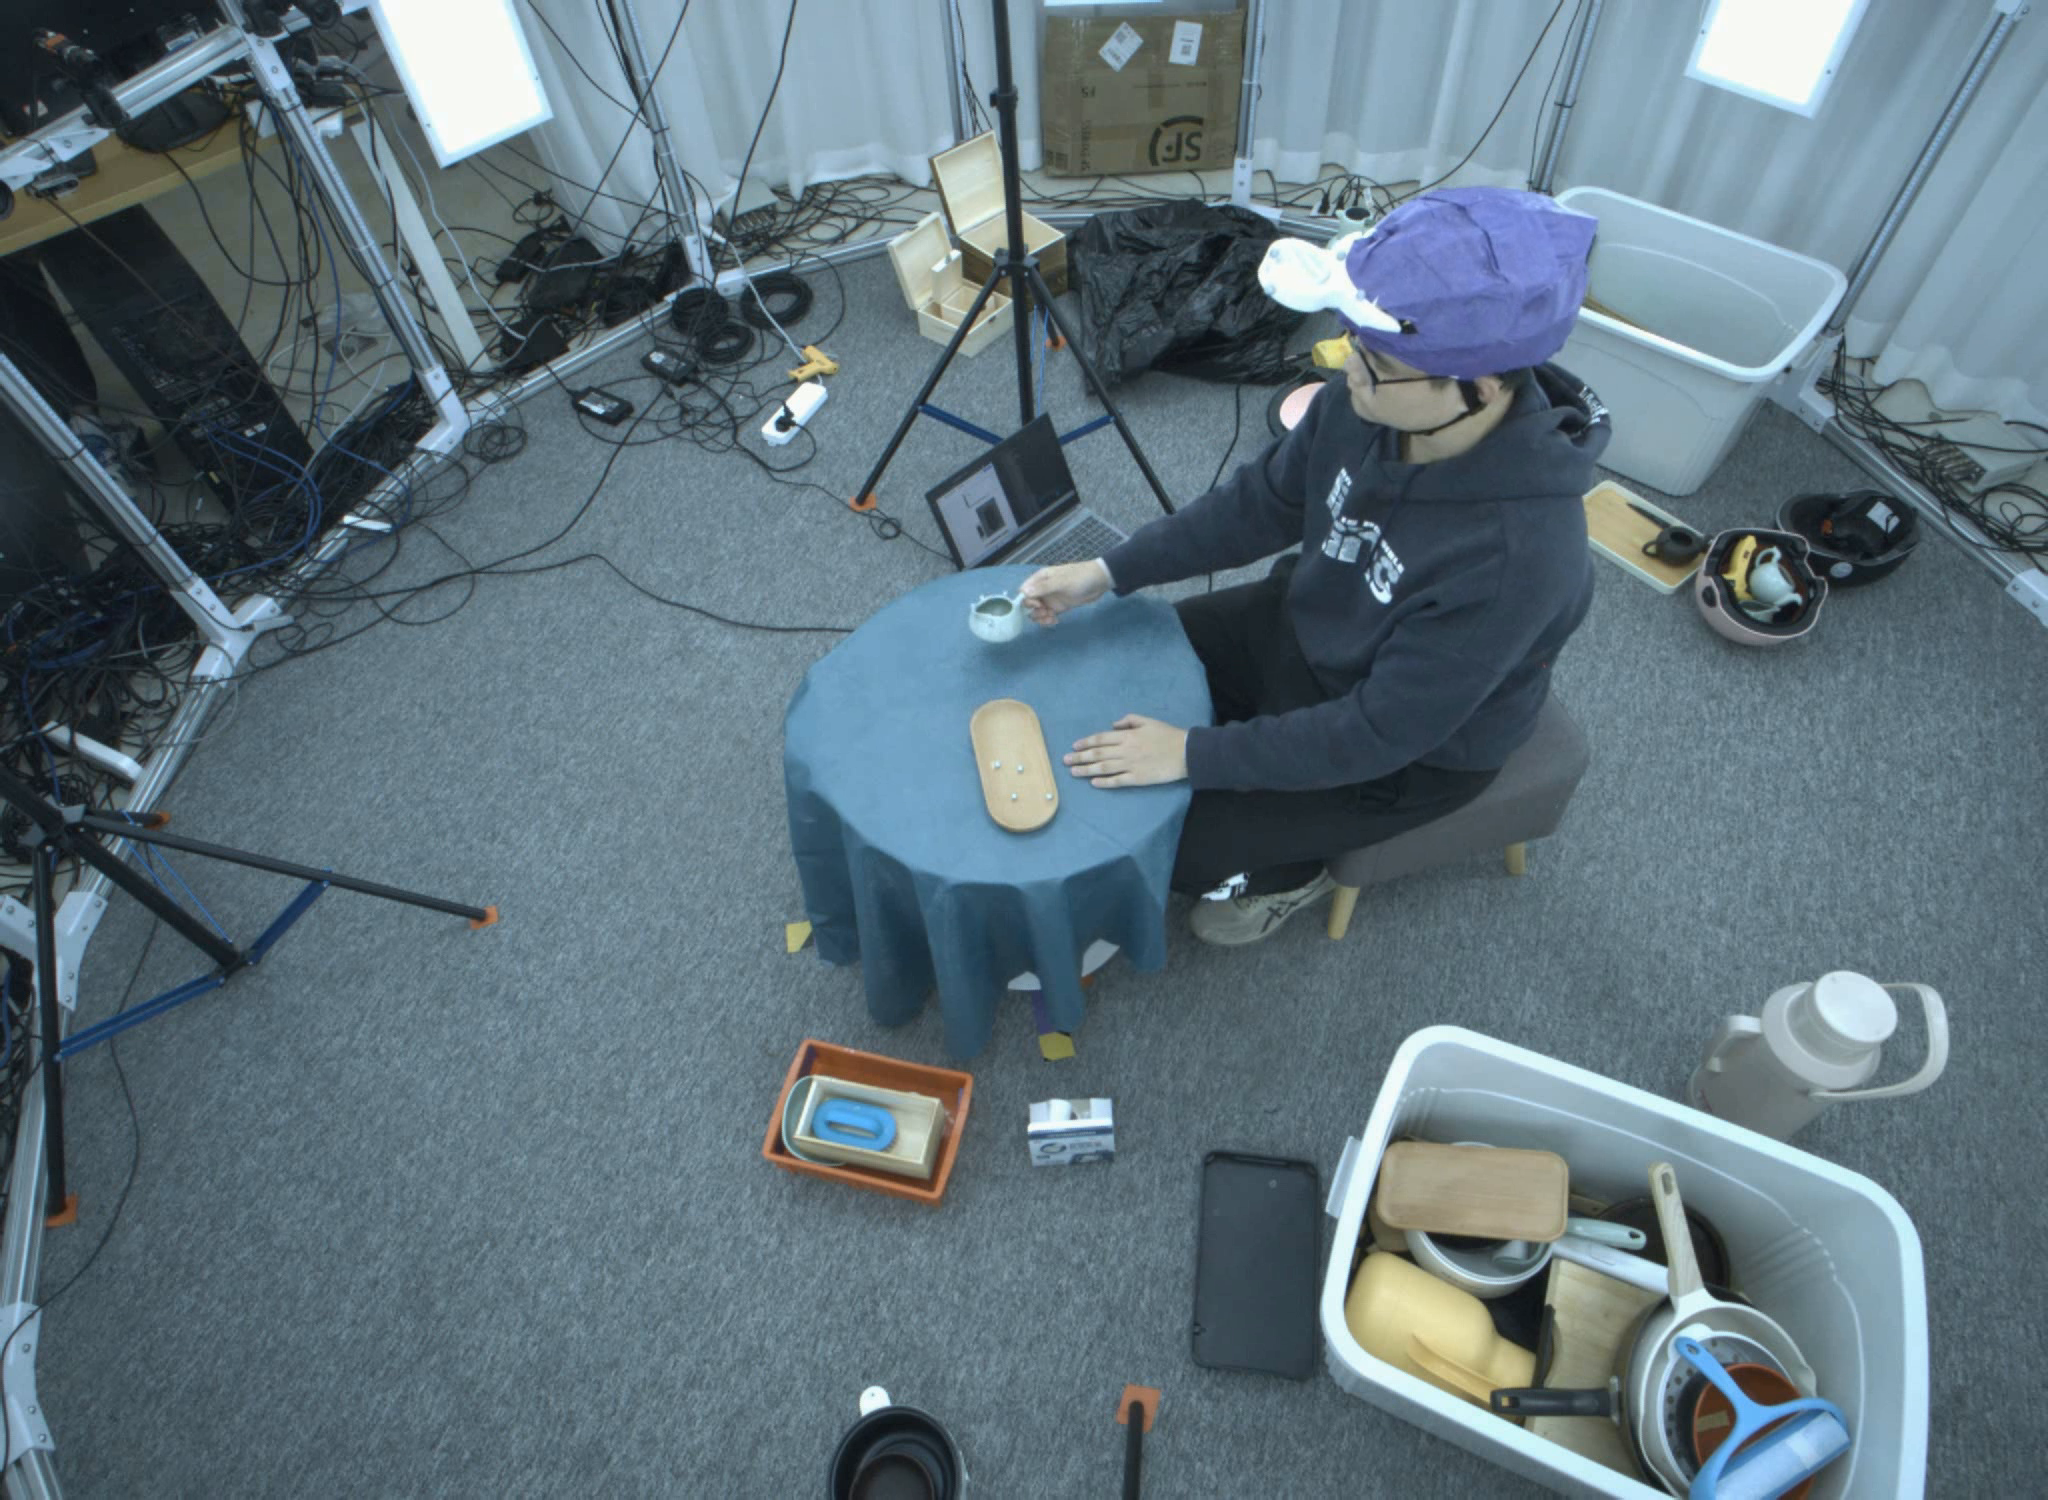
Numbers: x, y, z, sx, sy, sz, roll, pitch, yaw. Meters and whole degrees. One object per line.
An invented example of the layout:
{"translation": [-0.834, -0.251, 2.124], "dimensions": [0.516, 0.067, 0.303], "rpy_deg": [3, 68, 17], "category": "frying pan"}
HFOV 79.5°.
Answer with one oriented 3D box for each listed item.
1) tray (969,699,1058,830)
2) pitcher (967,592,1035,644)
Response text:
{"translation": [-0.016, 0.018, 1.766], "dimensions": [0.102, 0.020, 0.227], "rpy_deg": [-10, 53, -7], "category": "tray"}
{"translation": [-0.033, -0.203, 1.850], "dimensions": [0.109, 0.061, 0.084], "rpy_deg": [-21, 56, -23], "category": "pitcher"}
